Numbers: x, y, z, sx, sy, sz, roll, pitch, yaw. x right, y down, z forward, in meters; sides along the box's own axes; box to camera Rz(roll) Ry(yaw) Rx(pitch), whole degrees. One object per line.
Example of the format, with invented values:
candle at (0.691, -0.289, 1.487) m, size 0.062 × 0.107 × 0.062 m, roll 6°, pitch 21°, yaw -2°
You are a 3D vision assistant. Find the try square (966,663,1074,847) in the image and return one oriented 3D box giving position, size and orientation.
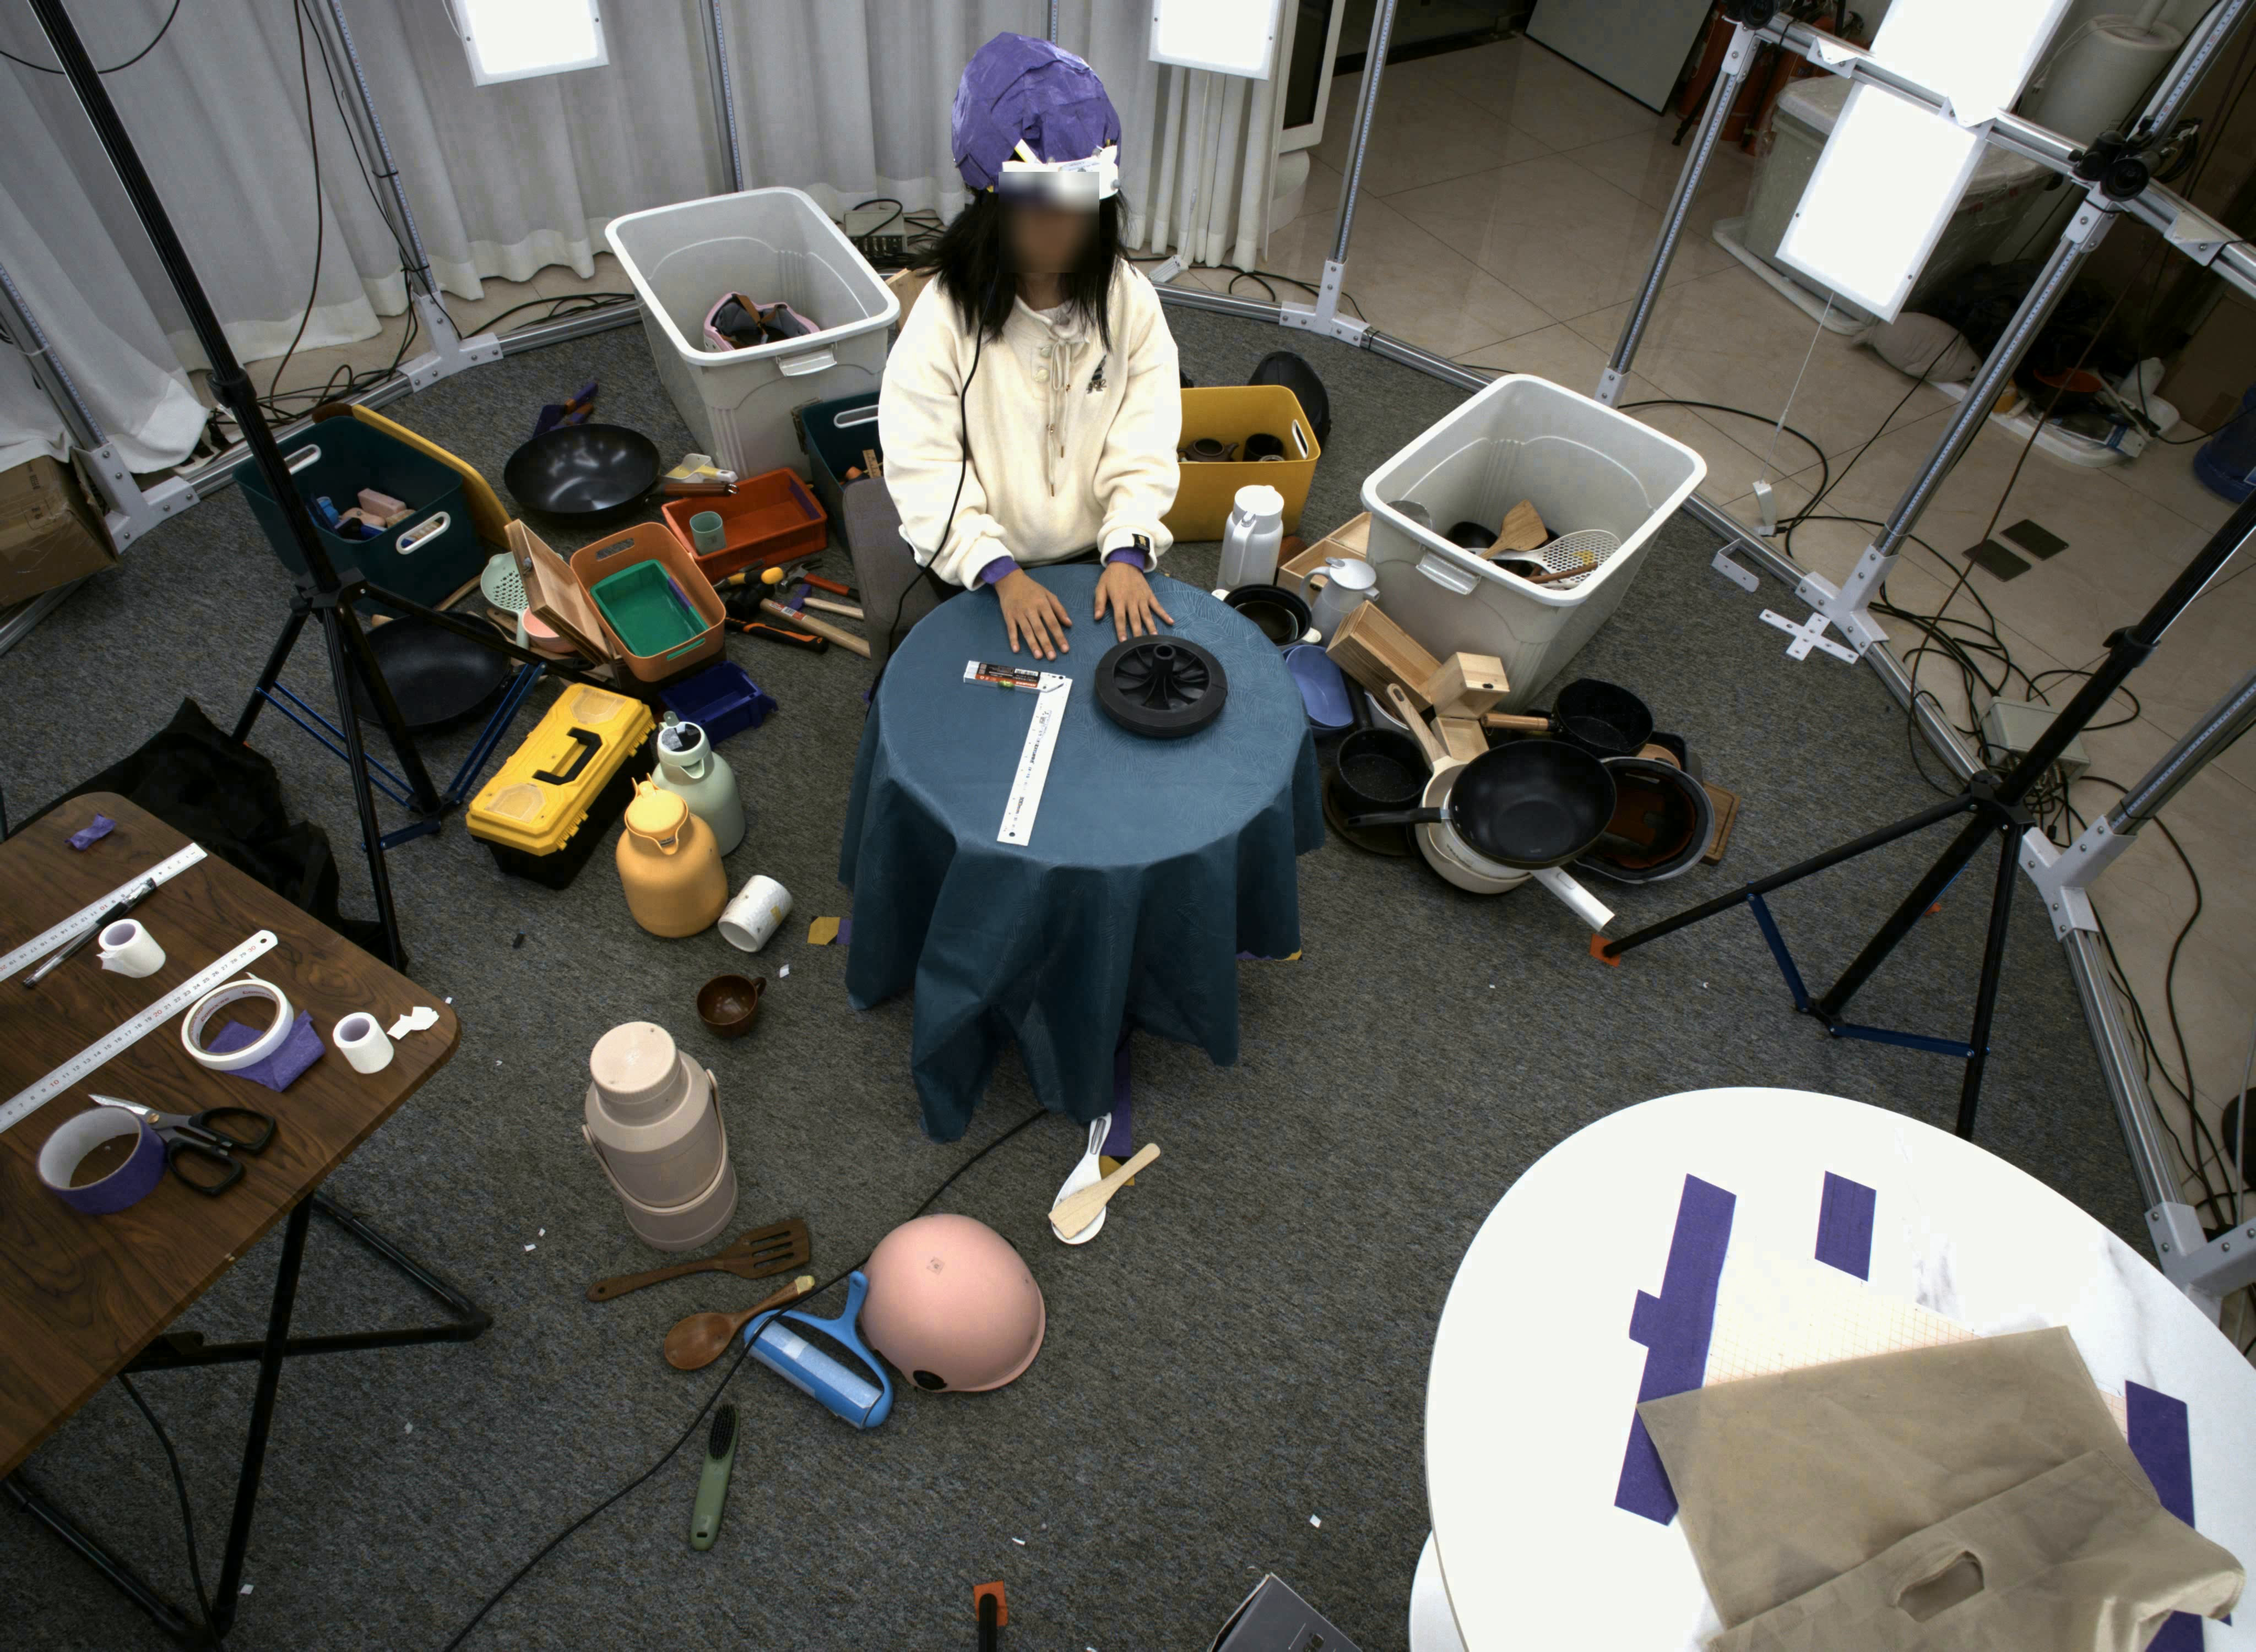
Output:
try square at (-0.177, -0.104, 1.746) m, size 0.152 × 0.015 × 0.320 m, roll 8°, pitch 50°, yaw 6°

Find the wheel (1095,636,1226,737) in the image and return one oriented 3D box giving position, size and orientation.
wheel at (0.048, -0.214, 1.810) m, size 0.191 × 0.077 × 0.190 m, roll -35°, pitch 60°, yaw -29°
